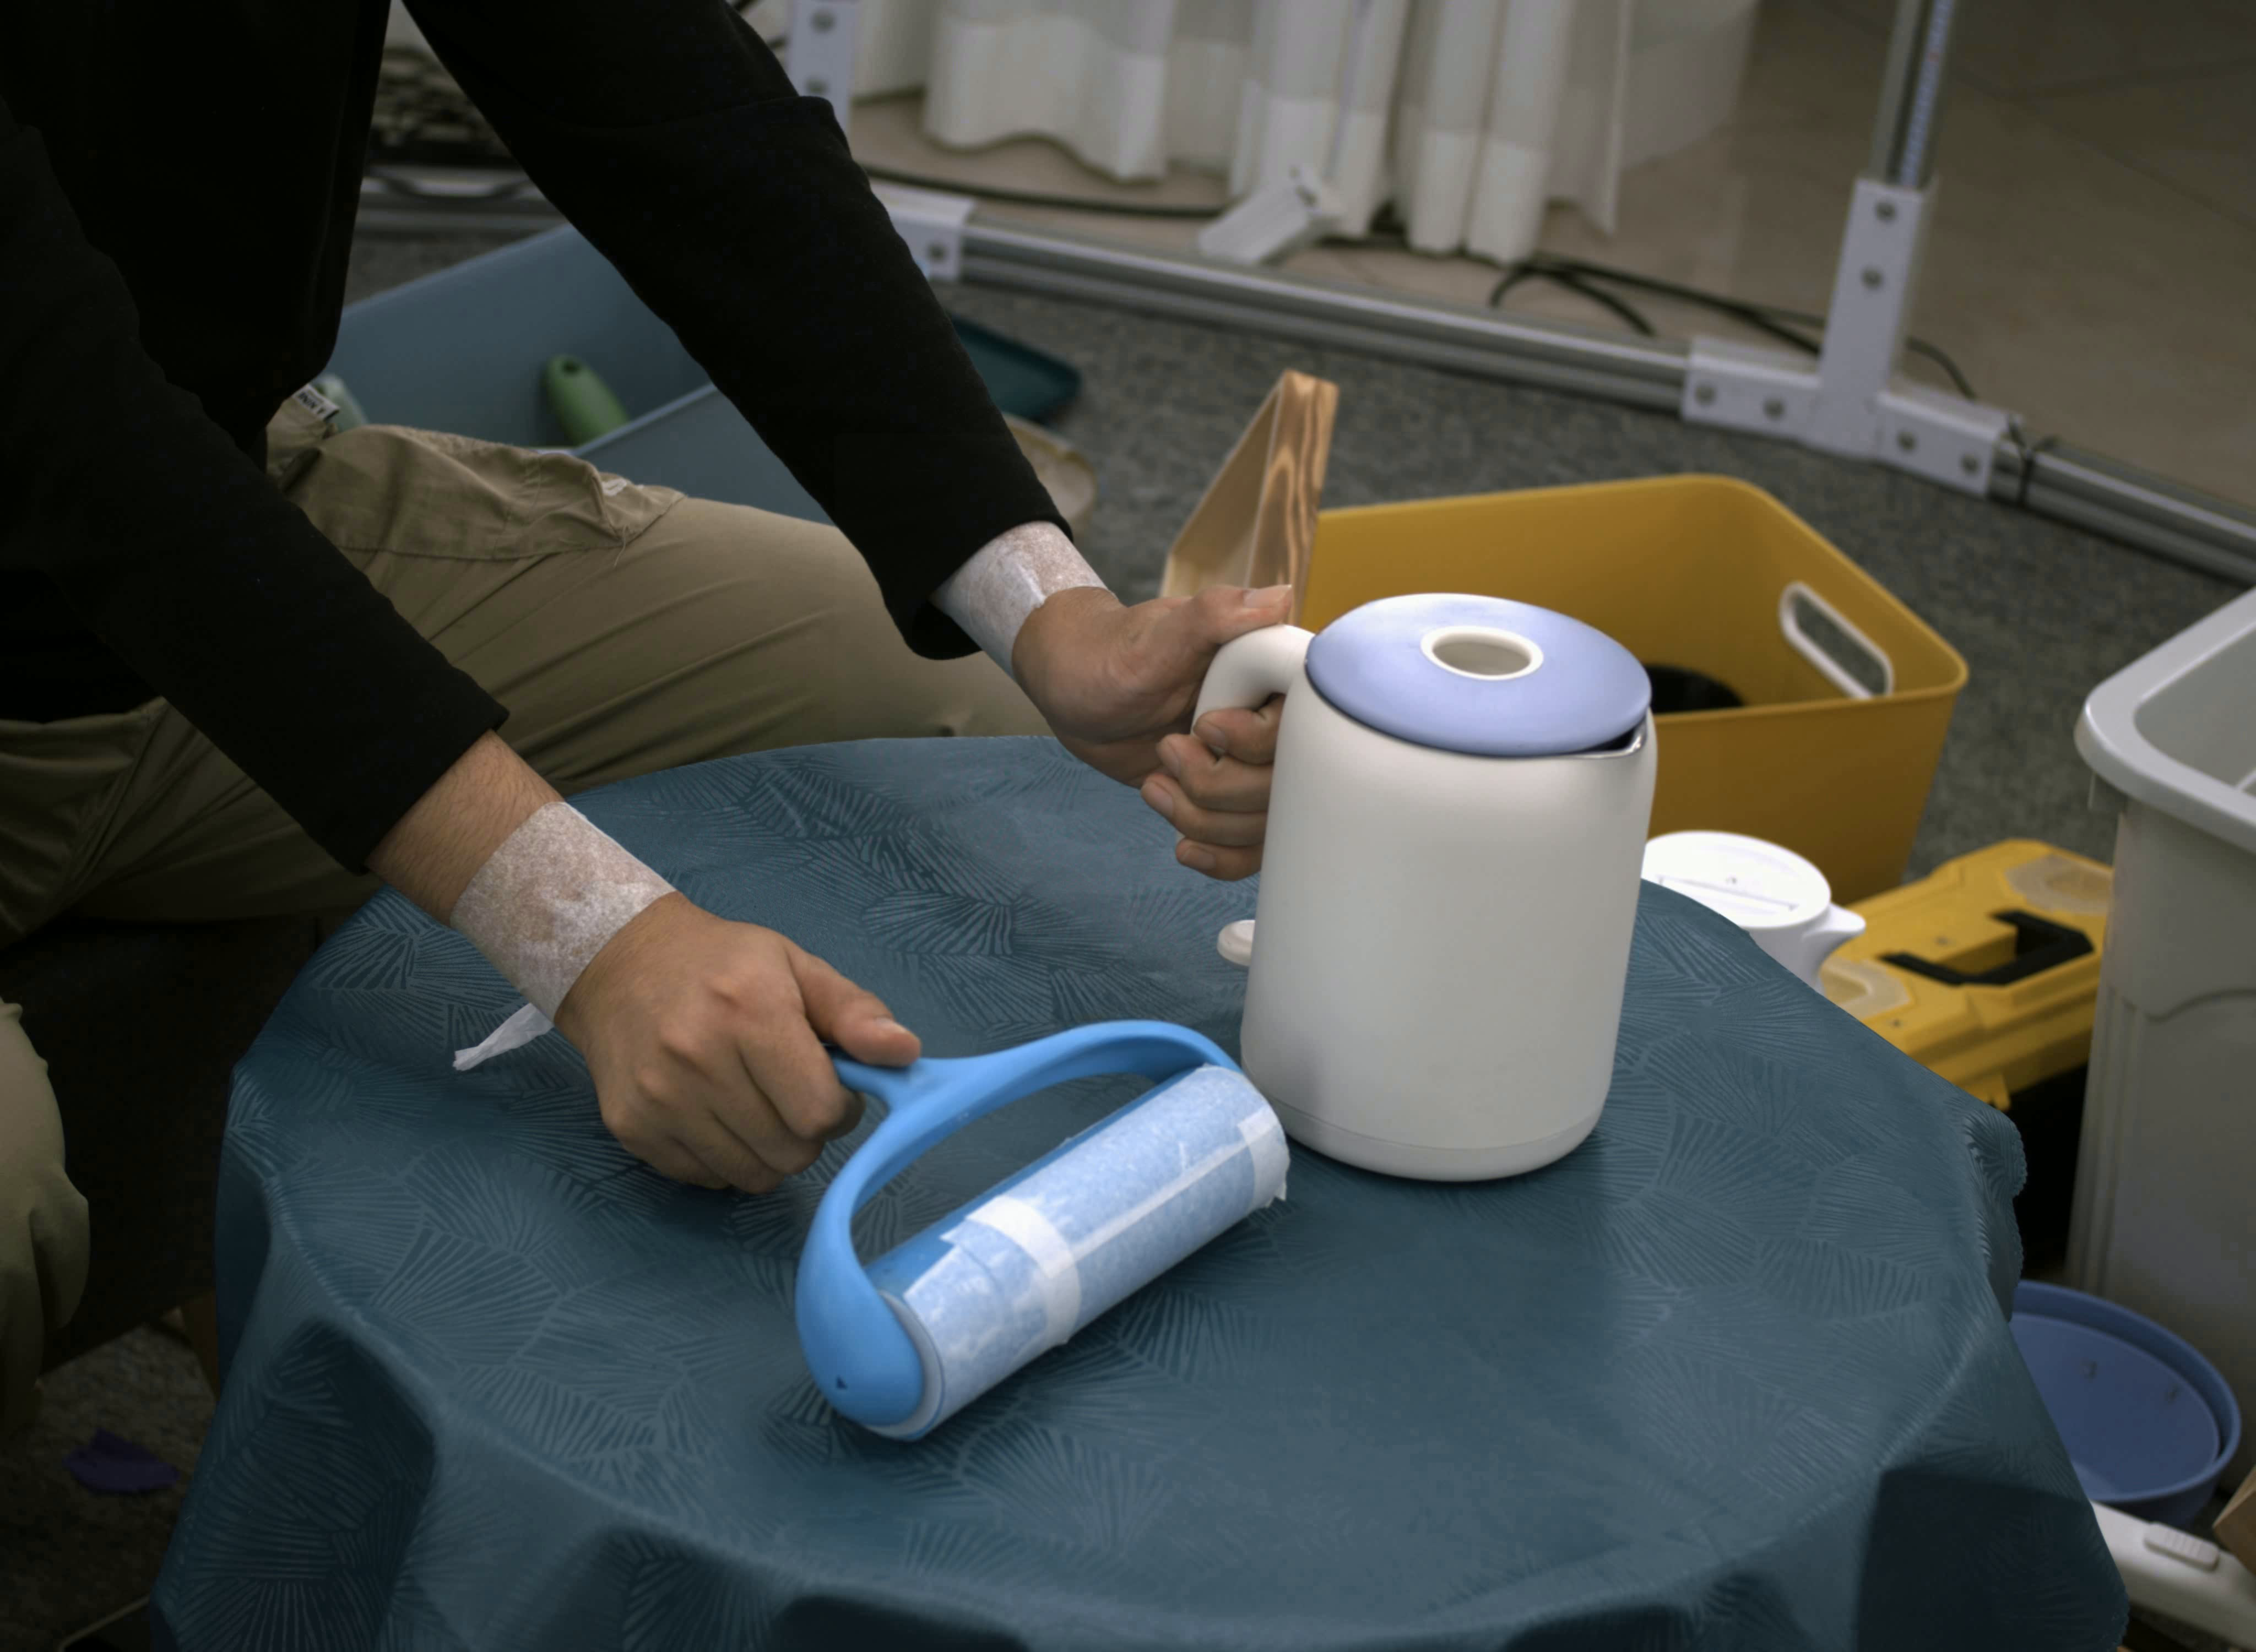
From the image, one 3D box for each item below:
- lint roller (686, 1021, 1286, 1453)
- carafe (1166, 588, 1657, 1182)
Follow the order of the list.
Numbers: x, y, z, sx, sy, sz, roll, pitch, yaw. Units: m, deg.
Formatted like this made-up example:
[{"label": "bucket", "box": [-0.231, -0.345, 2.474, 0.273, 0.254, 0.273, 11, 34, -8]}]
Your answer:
[{"label": "lint roller", "box": [-0.071, 0.107, 1.740, 0.181, 0.068, 0.228, 32, 38, 21]}, {"label": "carafe", "box": [0.092, 0.012, 1.852, 0.192, 0.182, 0.131, 22, 30, 34]}]
